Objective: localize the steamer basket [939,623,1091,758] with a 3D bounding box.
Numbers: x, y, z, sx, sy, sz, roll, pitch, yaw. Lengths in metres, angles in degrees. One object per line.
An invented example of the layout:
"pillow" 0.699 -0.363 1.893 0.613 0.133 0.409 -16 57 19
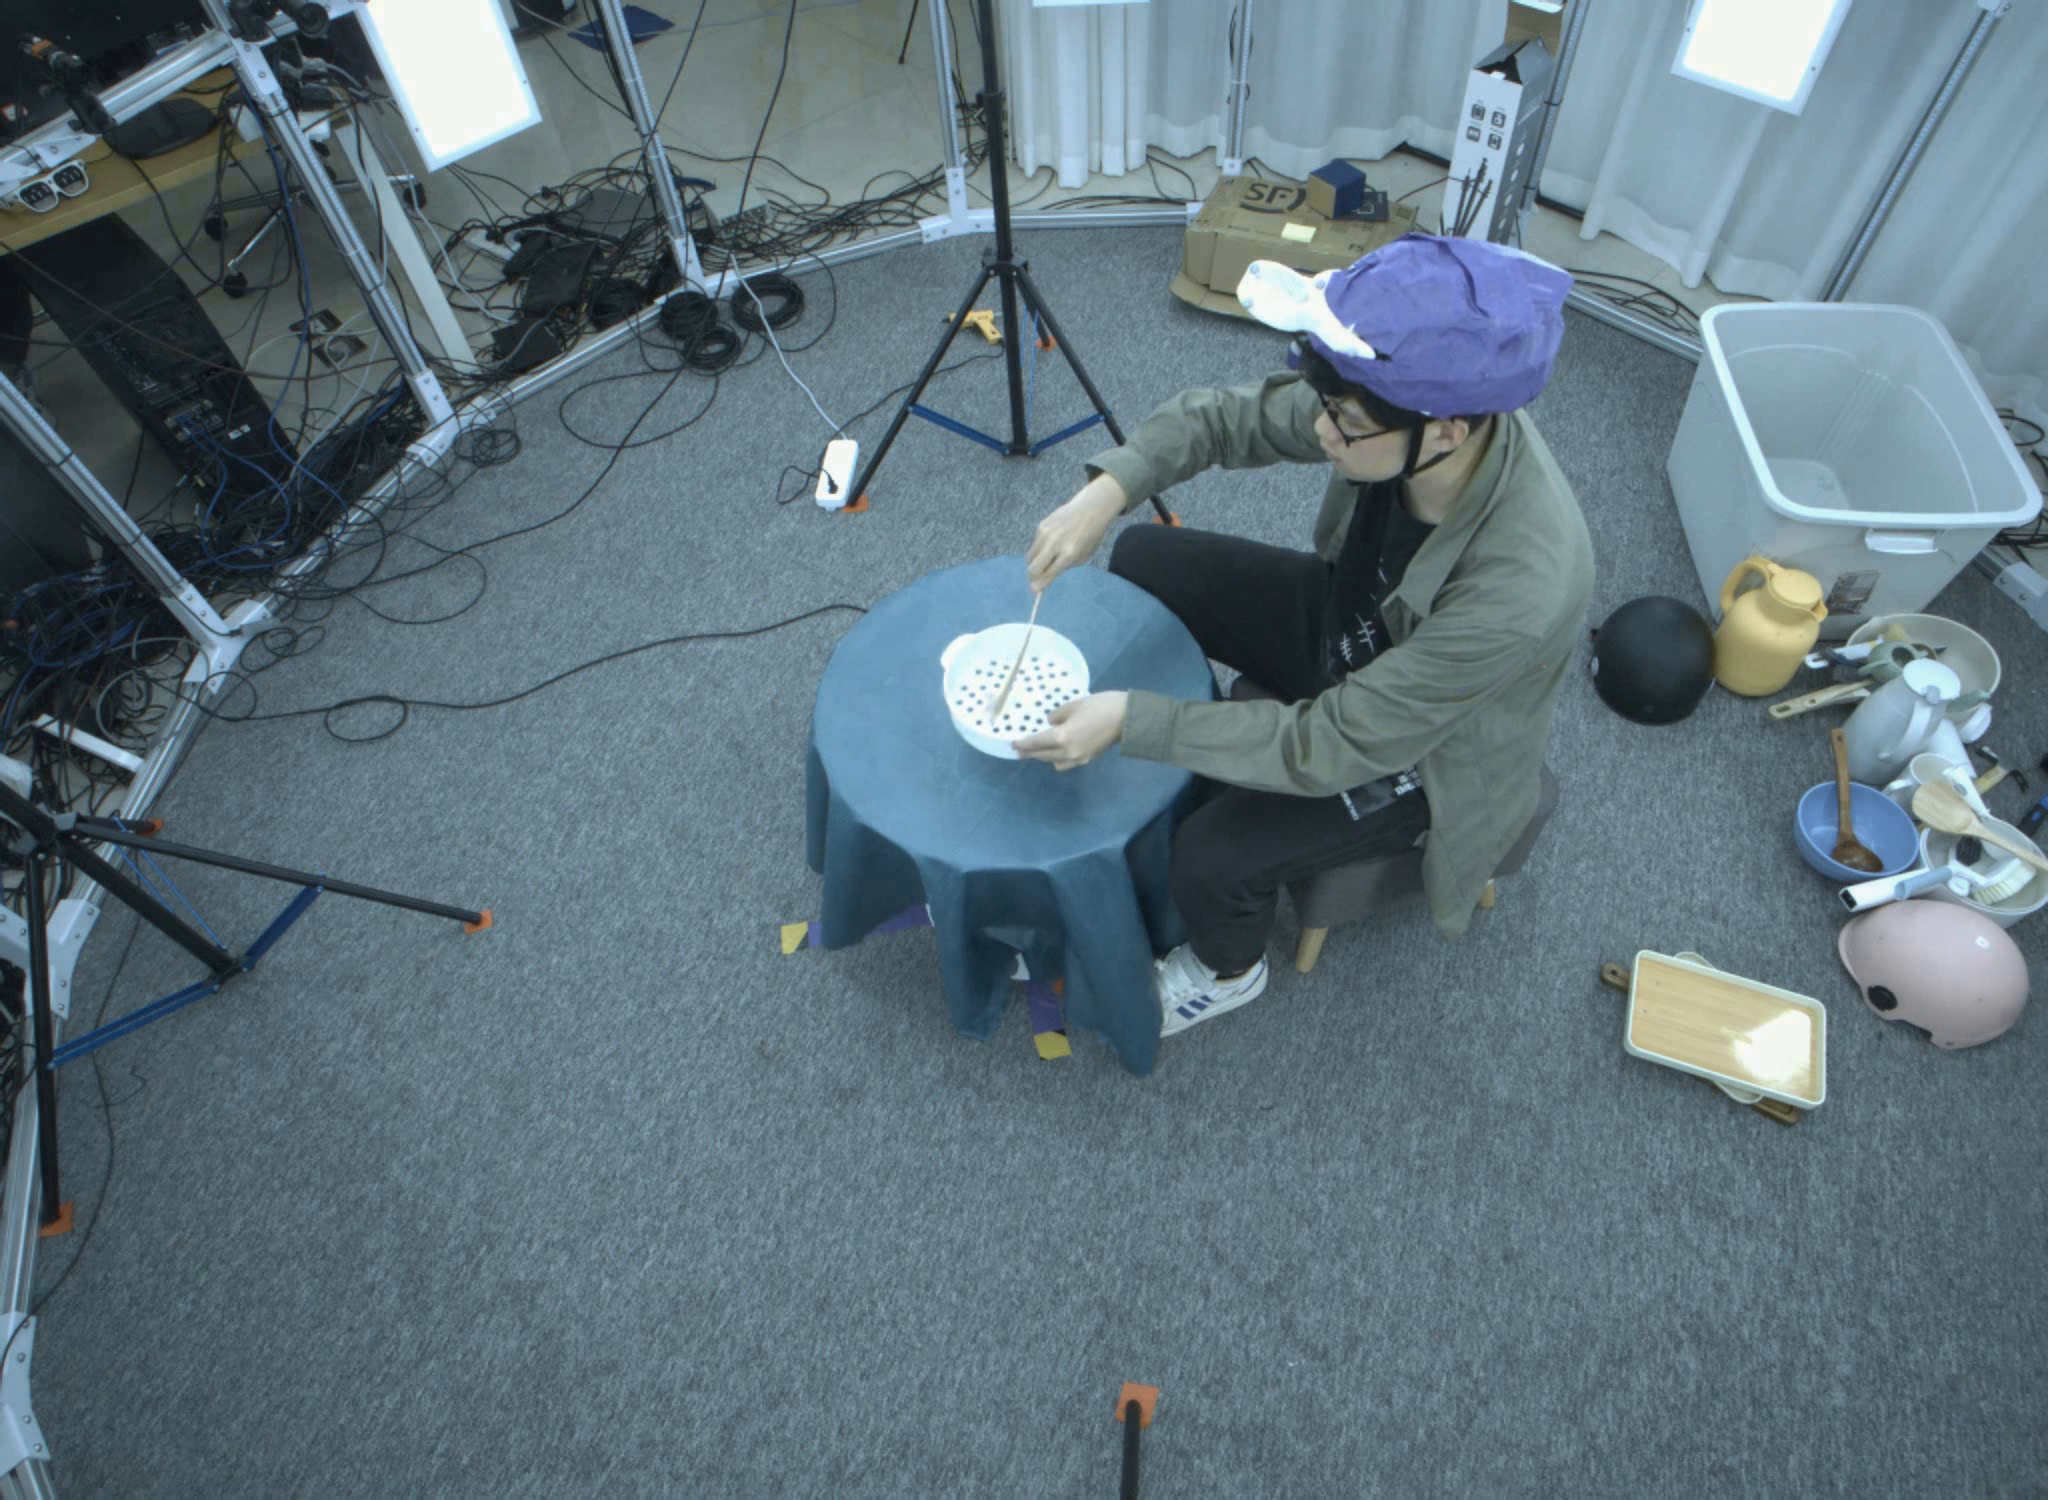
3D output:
"steamer basket" -0.013 -0.081 1.724 0.227 0.070 0.202 29 62 17

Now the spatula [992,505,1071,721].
"spatula" 0.012 -0.197 1.693 0.016 0.080 0.327 17 76 1
